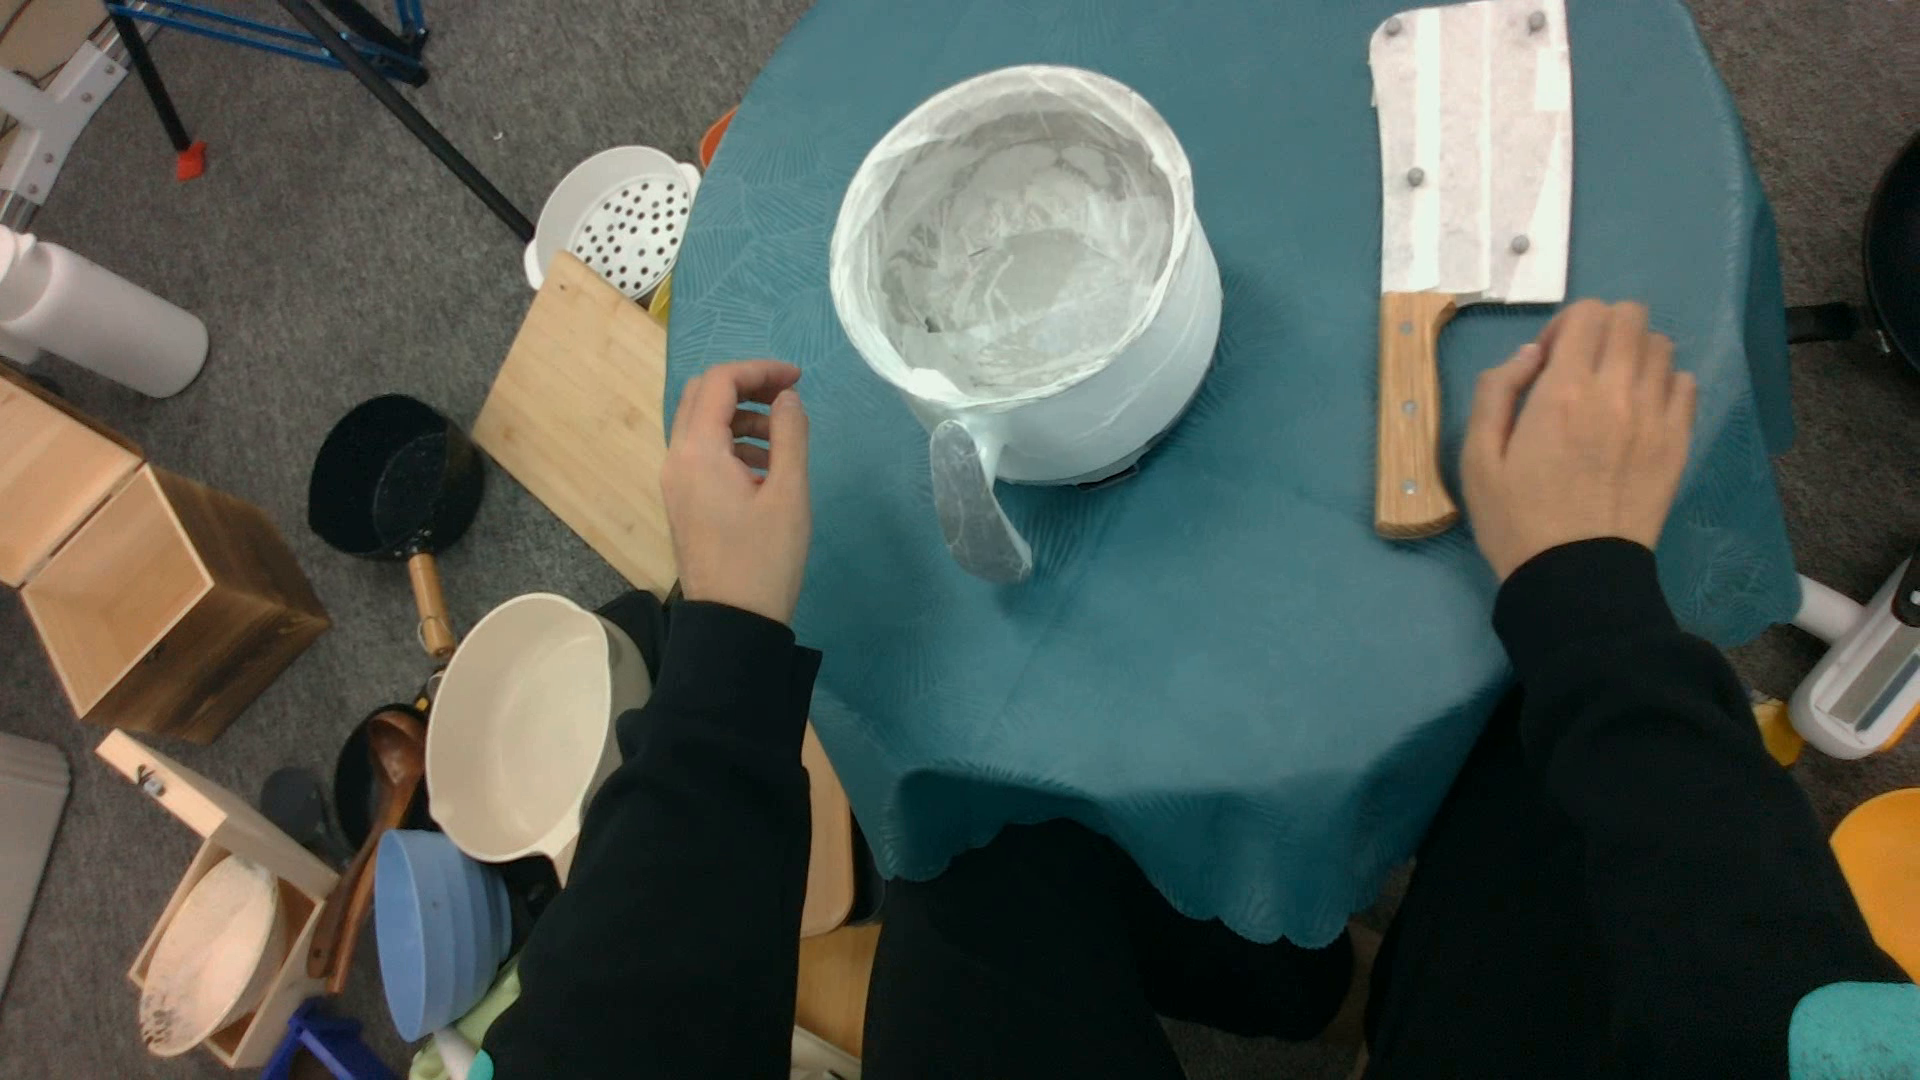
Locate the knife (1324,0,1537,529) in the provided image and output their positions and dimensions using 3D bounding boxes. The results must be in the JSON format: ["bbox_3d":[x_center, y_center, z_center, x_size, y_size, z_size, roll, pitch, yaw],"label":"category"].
[{"bbox_3d":[0.236,-0.156,0.708,0.114,0.022,0.316,4,72,18],"label":"knife"}]

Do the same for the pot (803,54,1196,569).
[{"bbox_3d":[0.021,-0.107,0.696,0.178,0.136,0.234,7,75,20],"label":"pot"}]
